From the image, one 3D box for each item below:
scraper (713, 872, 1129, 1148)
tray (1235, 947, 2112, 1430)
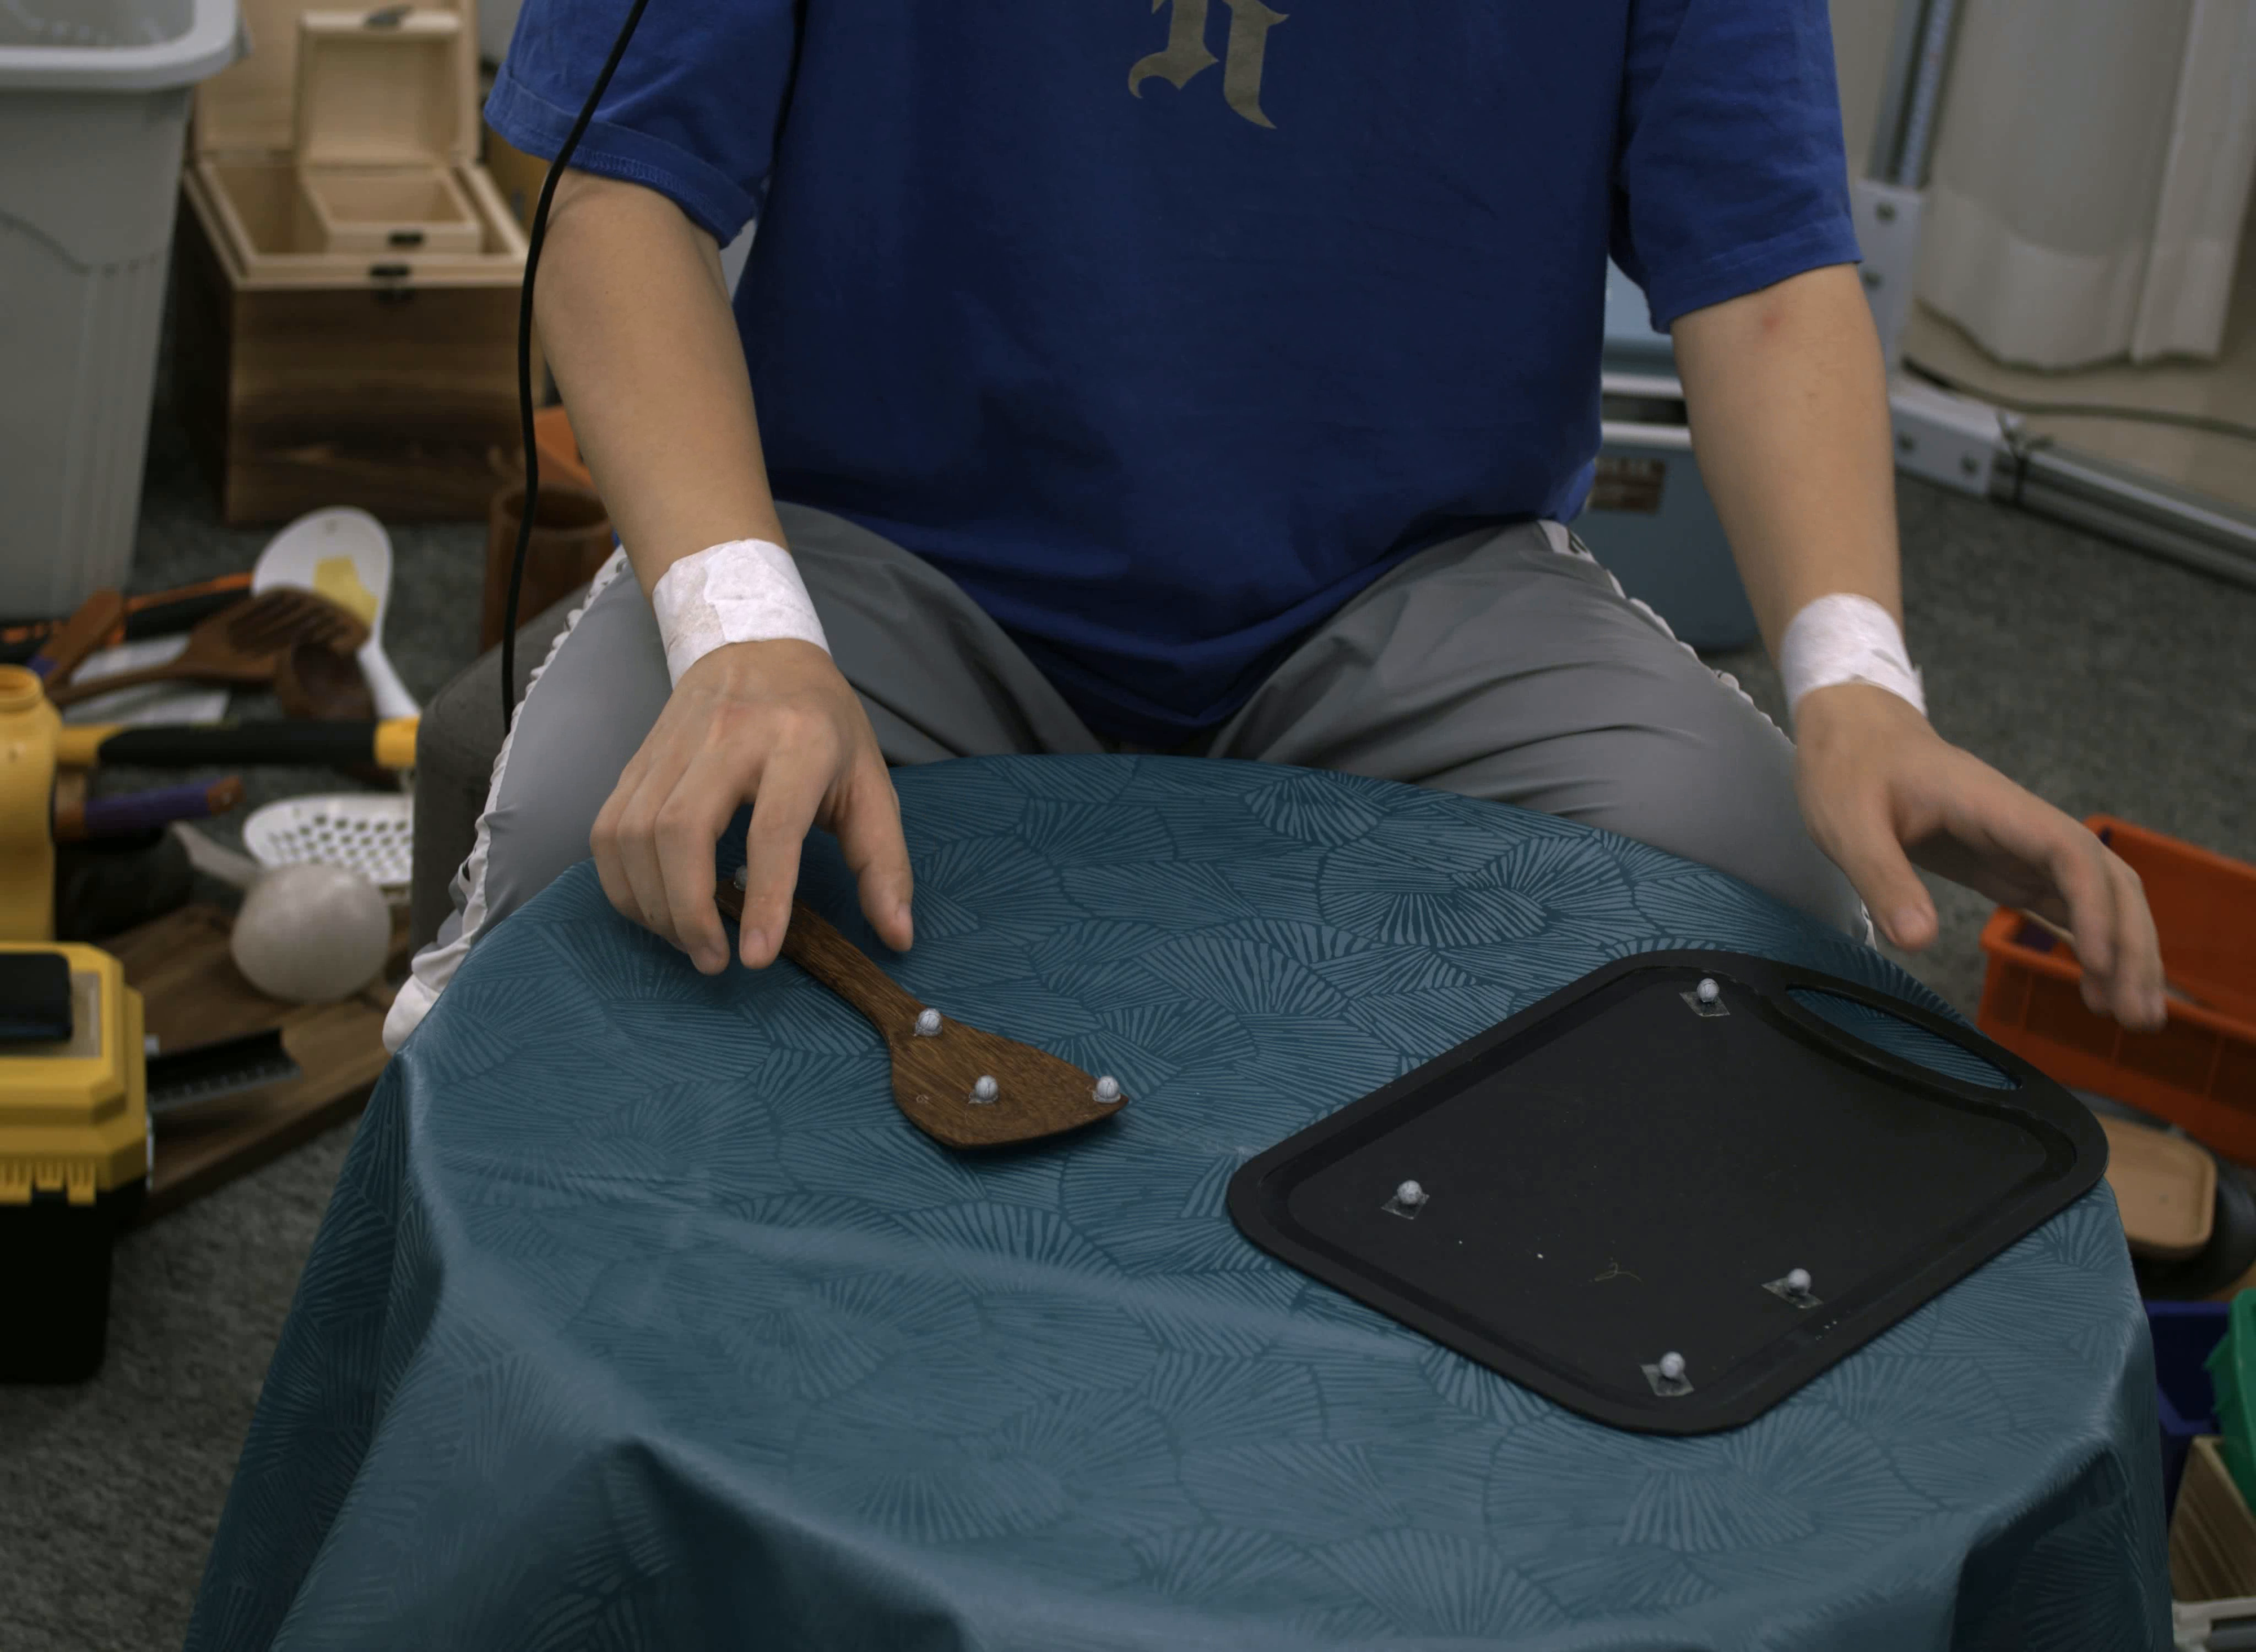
[{"bbox_3d":[-0.084,0.064,1.893,0.075,0.011,0.213,-12,31,-34],"label":"scraper"},{"bbox_3d":[0.198,0.116,1.856,0.212,0.010,0.324,25,32,33],"label":"tray"}]
